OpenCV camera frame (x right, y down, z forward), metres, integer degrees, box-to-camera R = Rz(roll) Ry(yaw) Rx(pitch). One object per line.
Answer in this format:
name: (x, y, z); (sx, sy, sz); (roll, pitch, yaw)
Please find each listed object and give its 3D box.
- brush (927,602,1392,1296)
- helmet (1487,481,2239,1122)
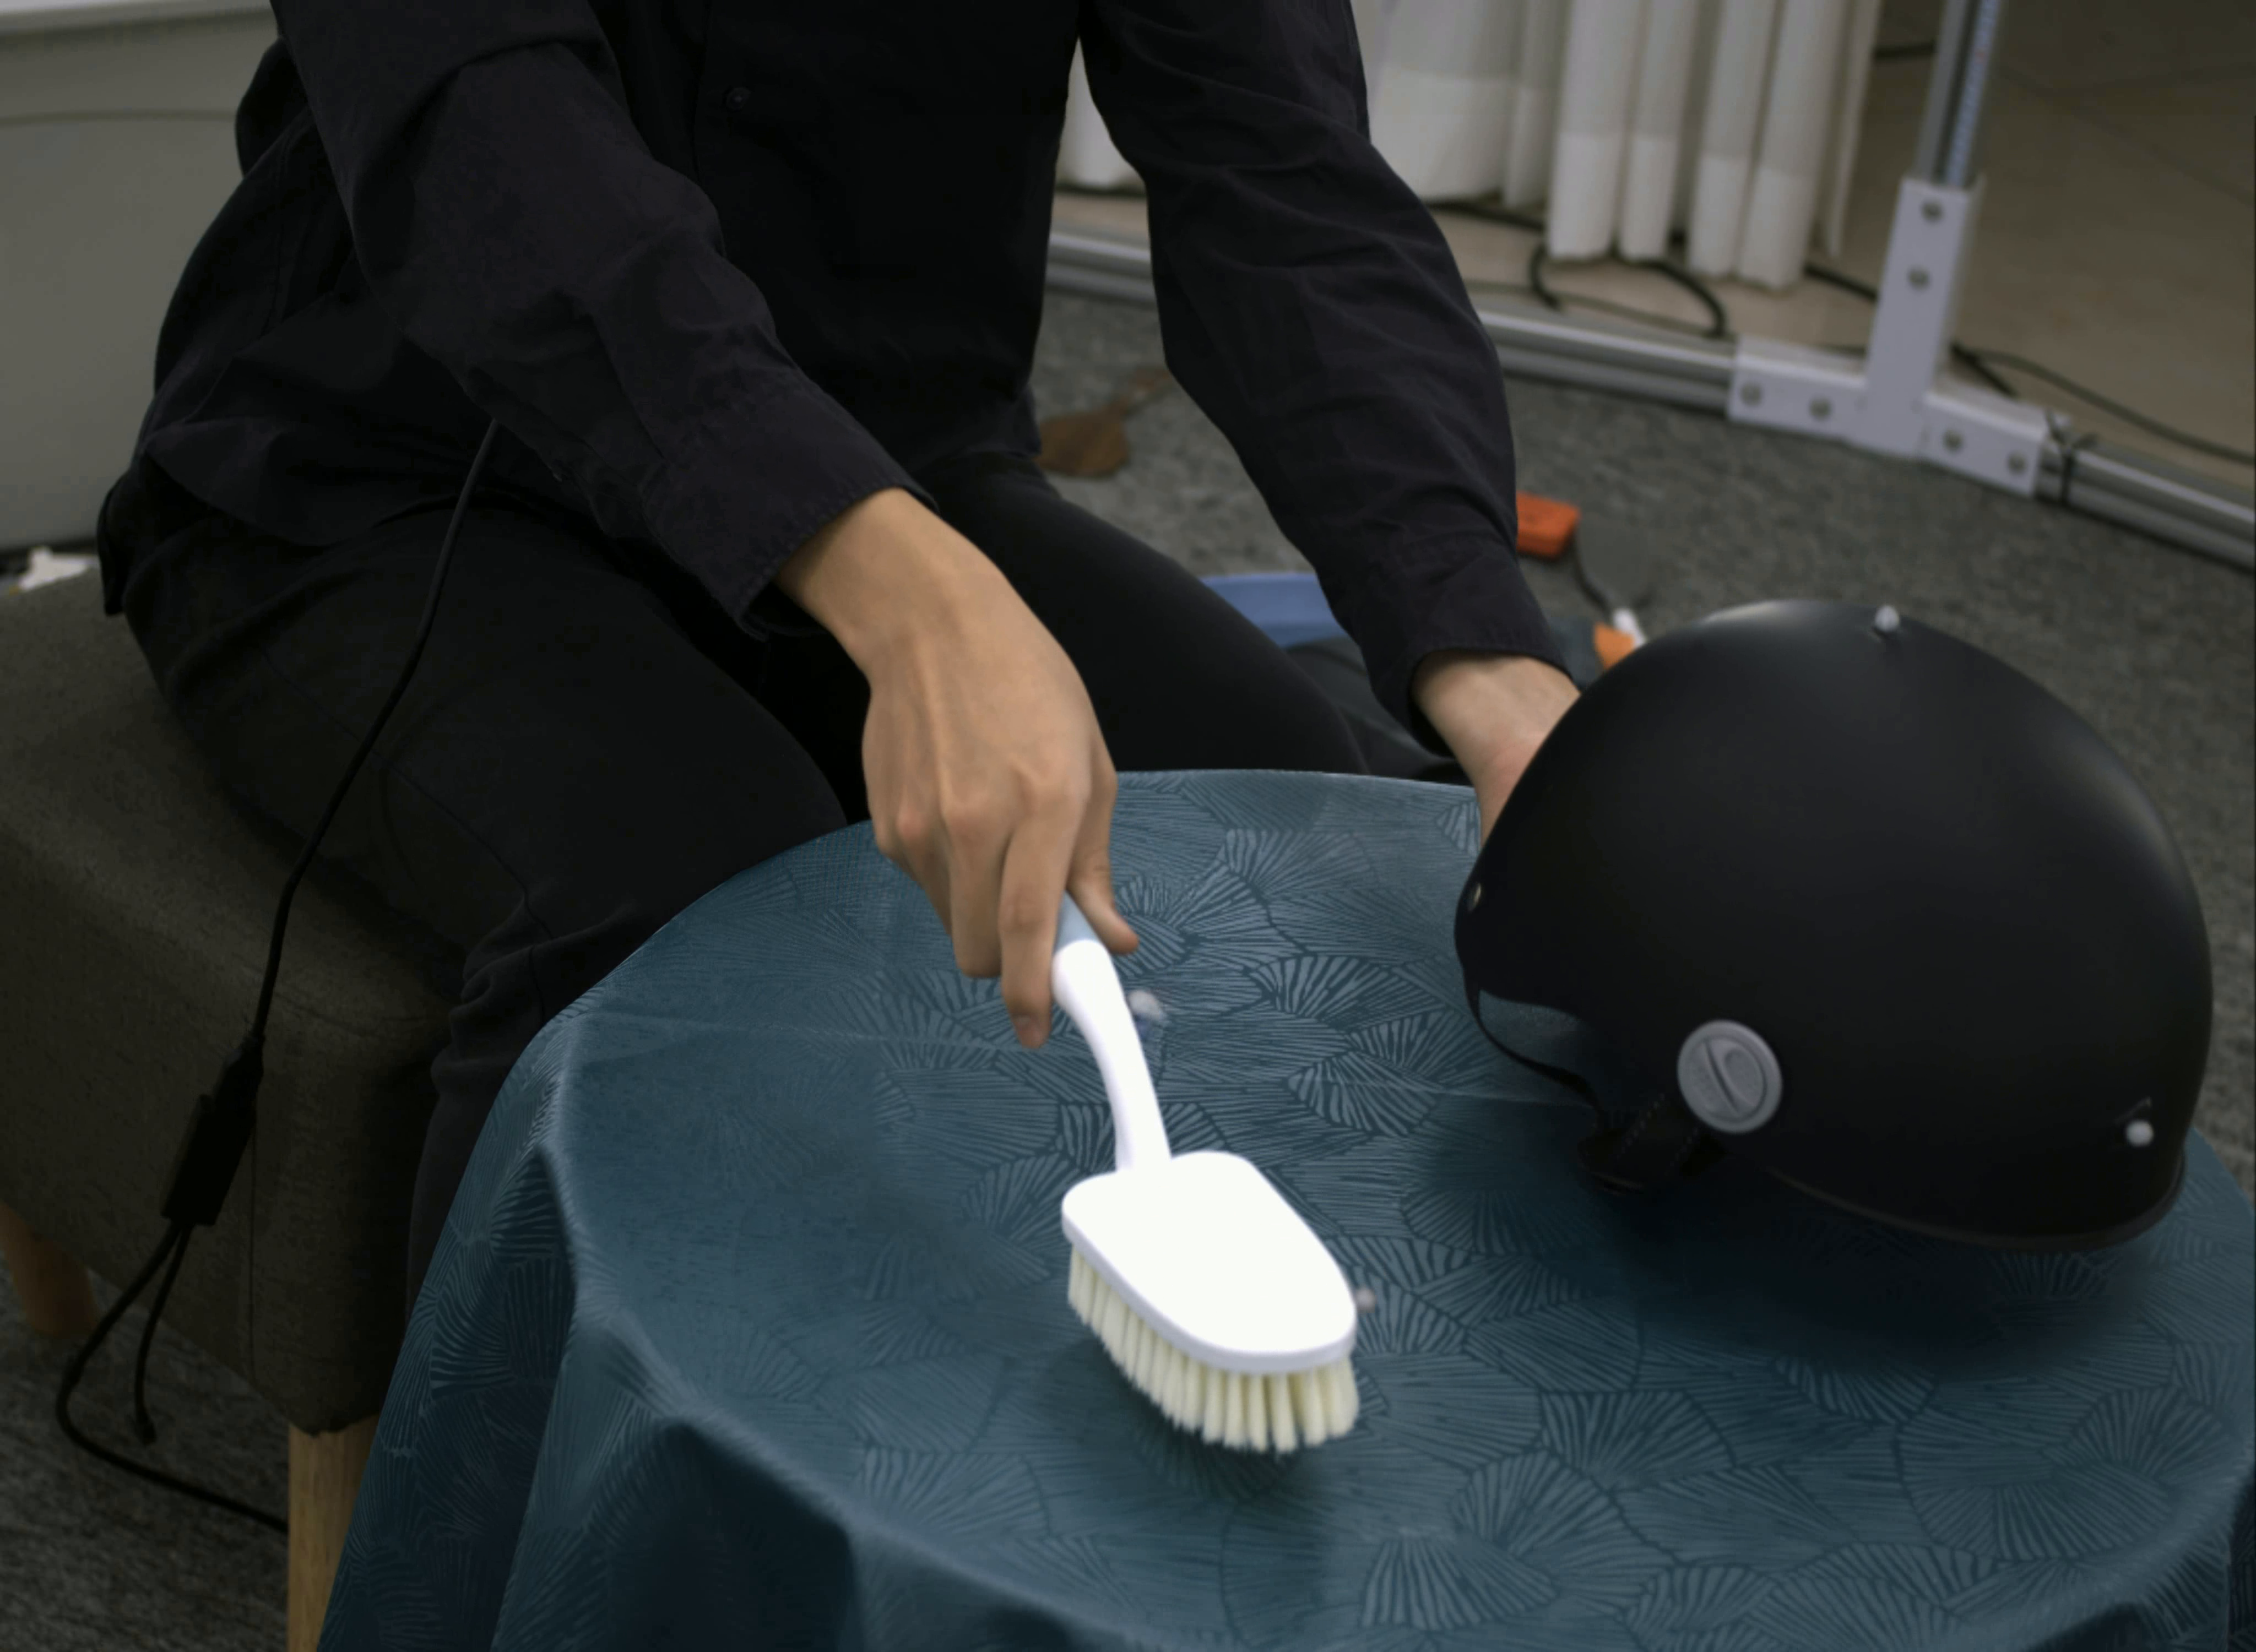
brush: (0.006, 0.048, 1.764); (0.082, 0.084, 0.328); (24, 22, -42)
helmet: (0.263, -0.024, 1.827); (0.228, 0.166, 0.275); (-13, 33, -40)
